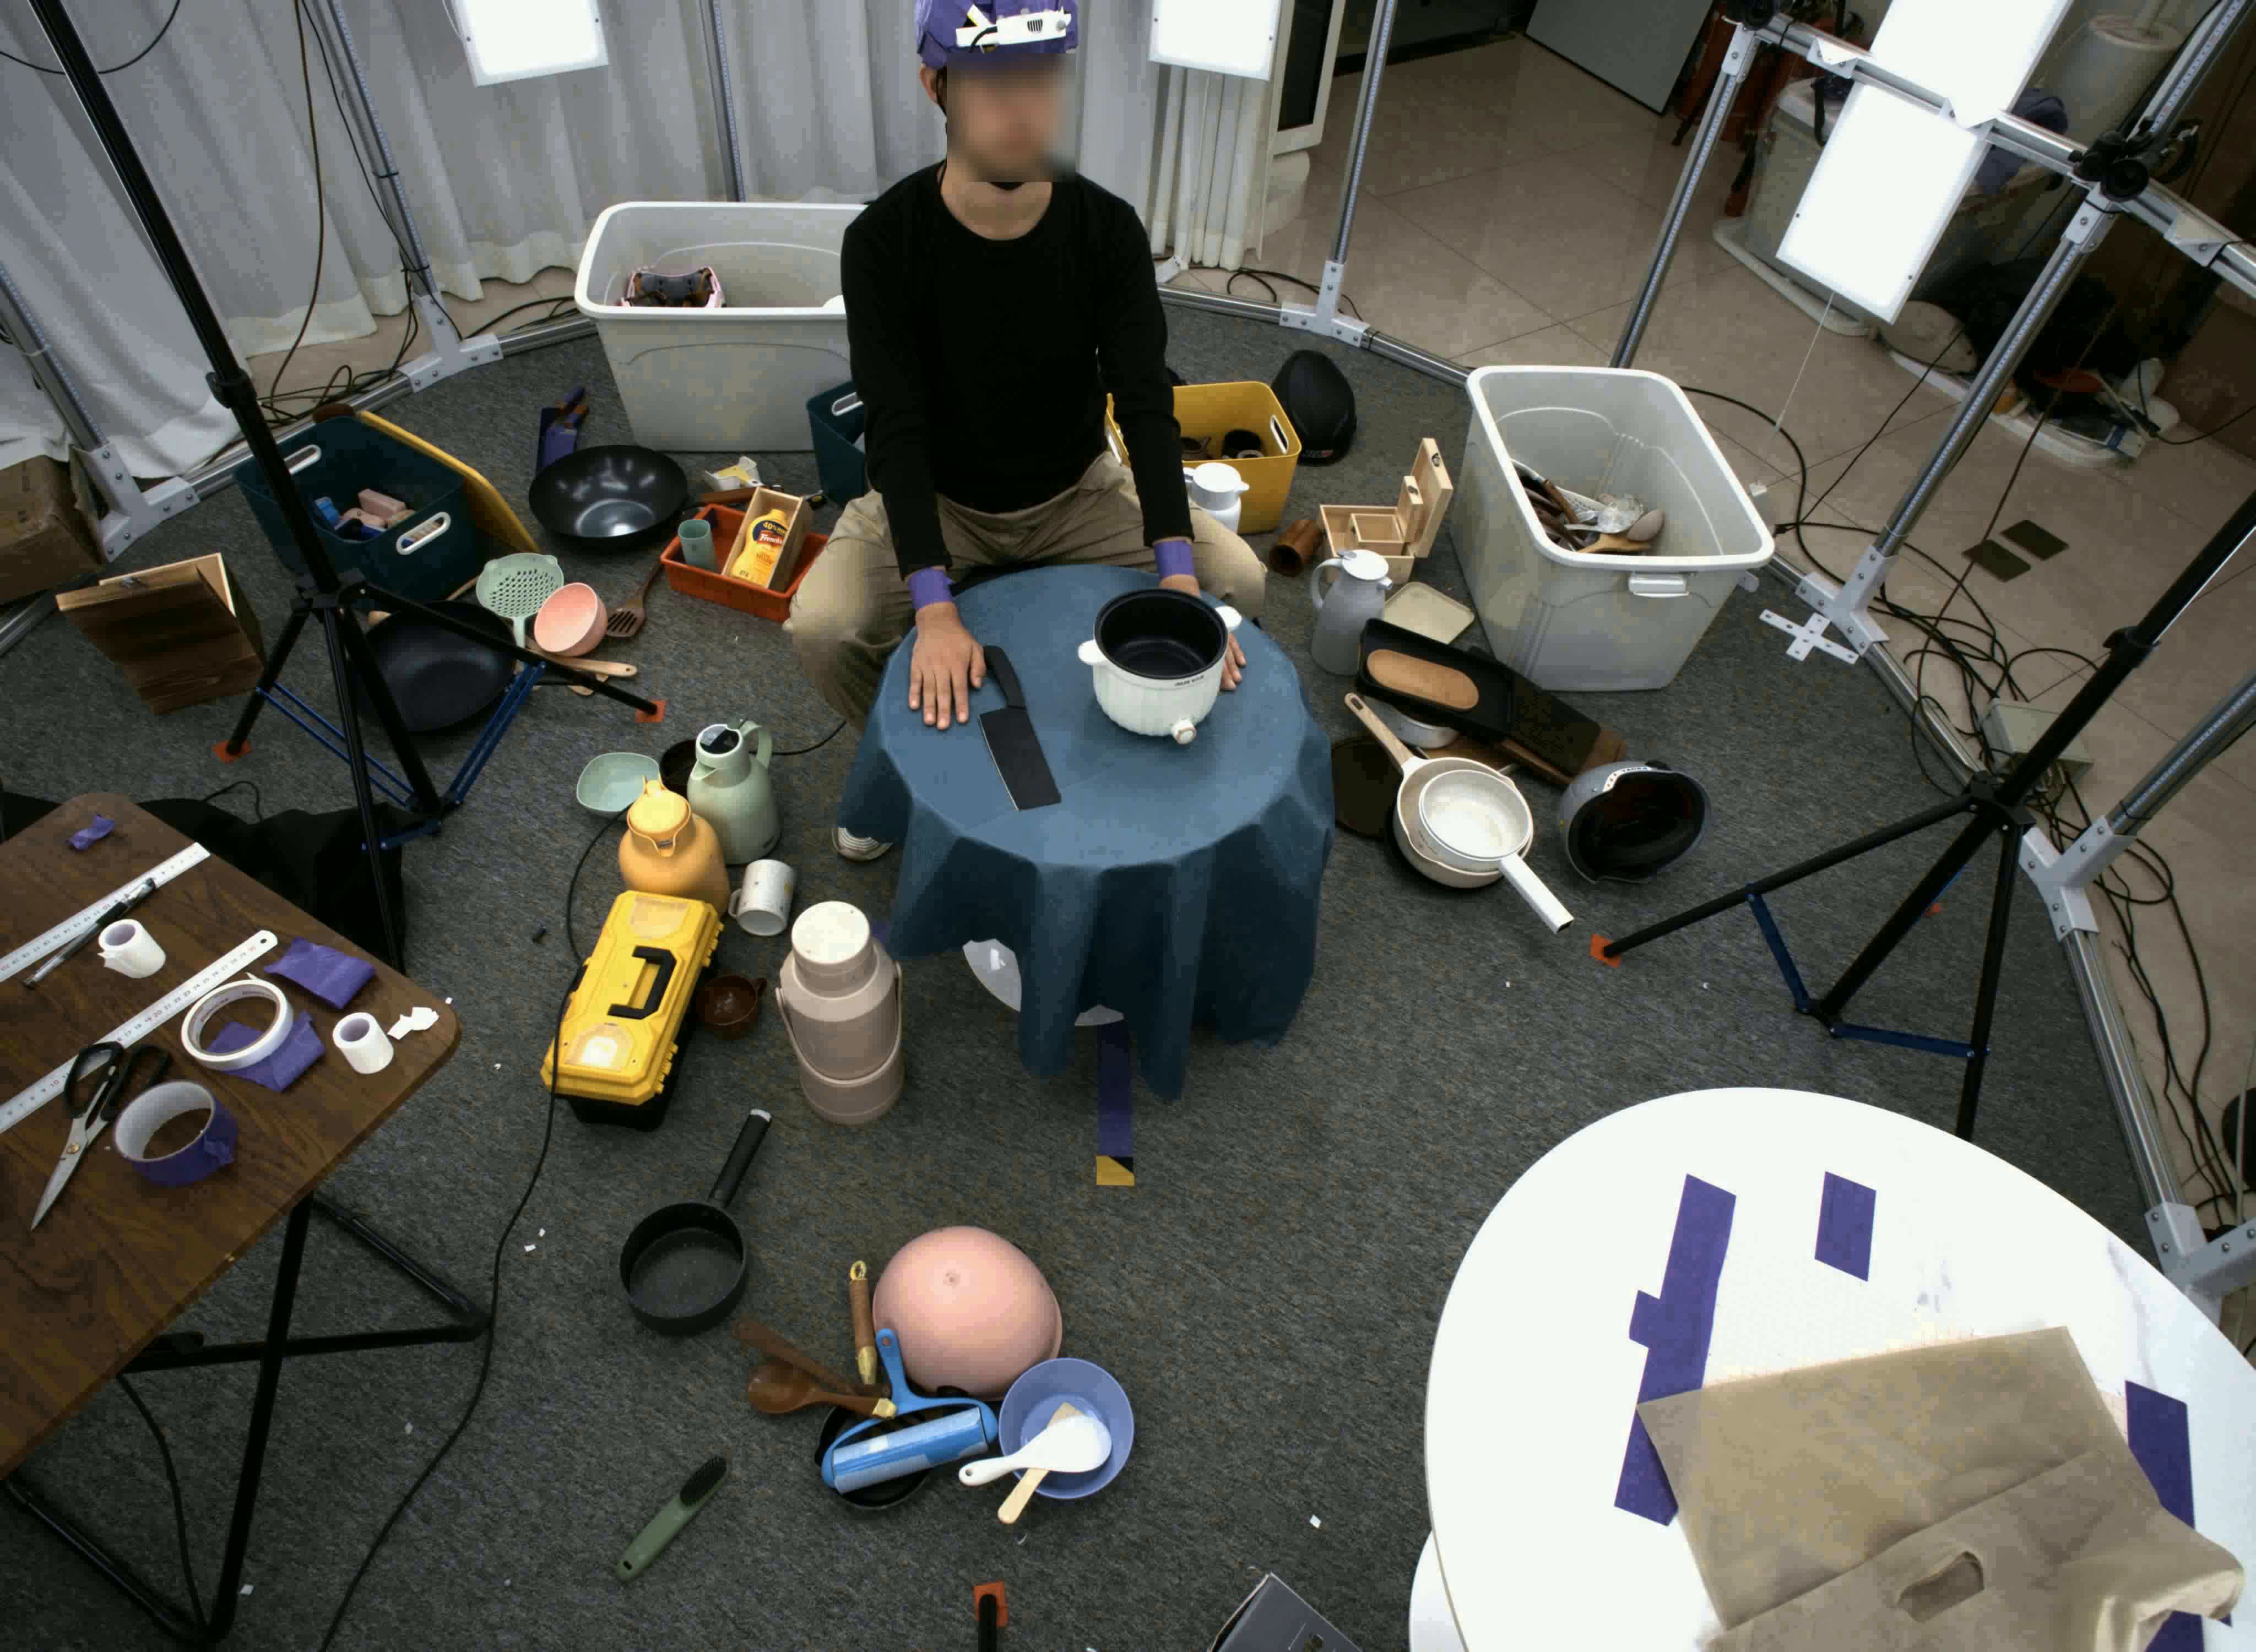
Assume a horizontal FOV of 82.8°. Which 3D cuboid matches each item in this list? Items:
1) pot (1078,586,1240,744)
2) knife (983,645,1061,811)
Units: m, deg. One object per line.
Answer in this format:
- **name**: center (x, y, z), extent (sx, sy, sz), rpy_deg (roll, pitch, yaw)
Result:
- **pot**: center (0.044, -0.216, 1.770), extent (0.241, 0.139, 0.195), rpy_deg (-18, 50, -17)
- **knife**: center (-0.160, -0.141, 1.773), extent (0.081, 0.020, 0.310), rpy_deg (-10, 52, -10)
